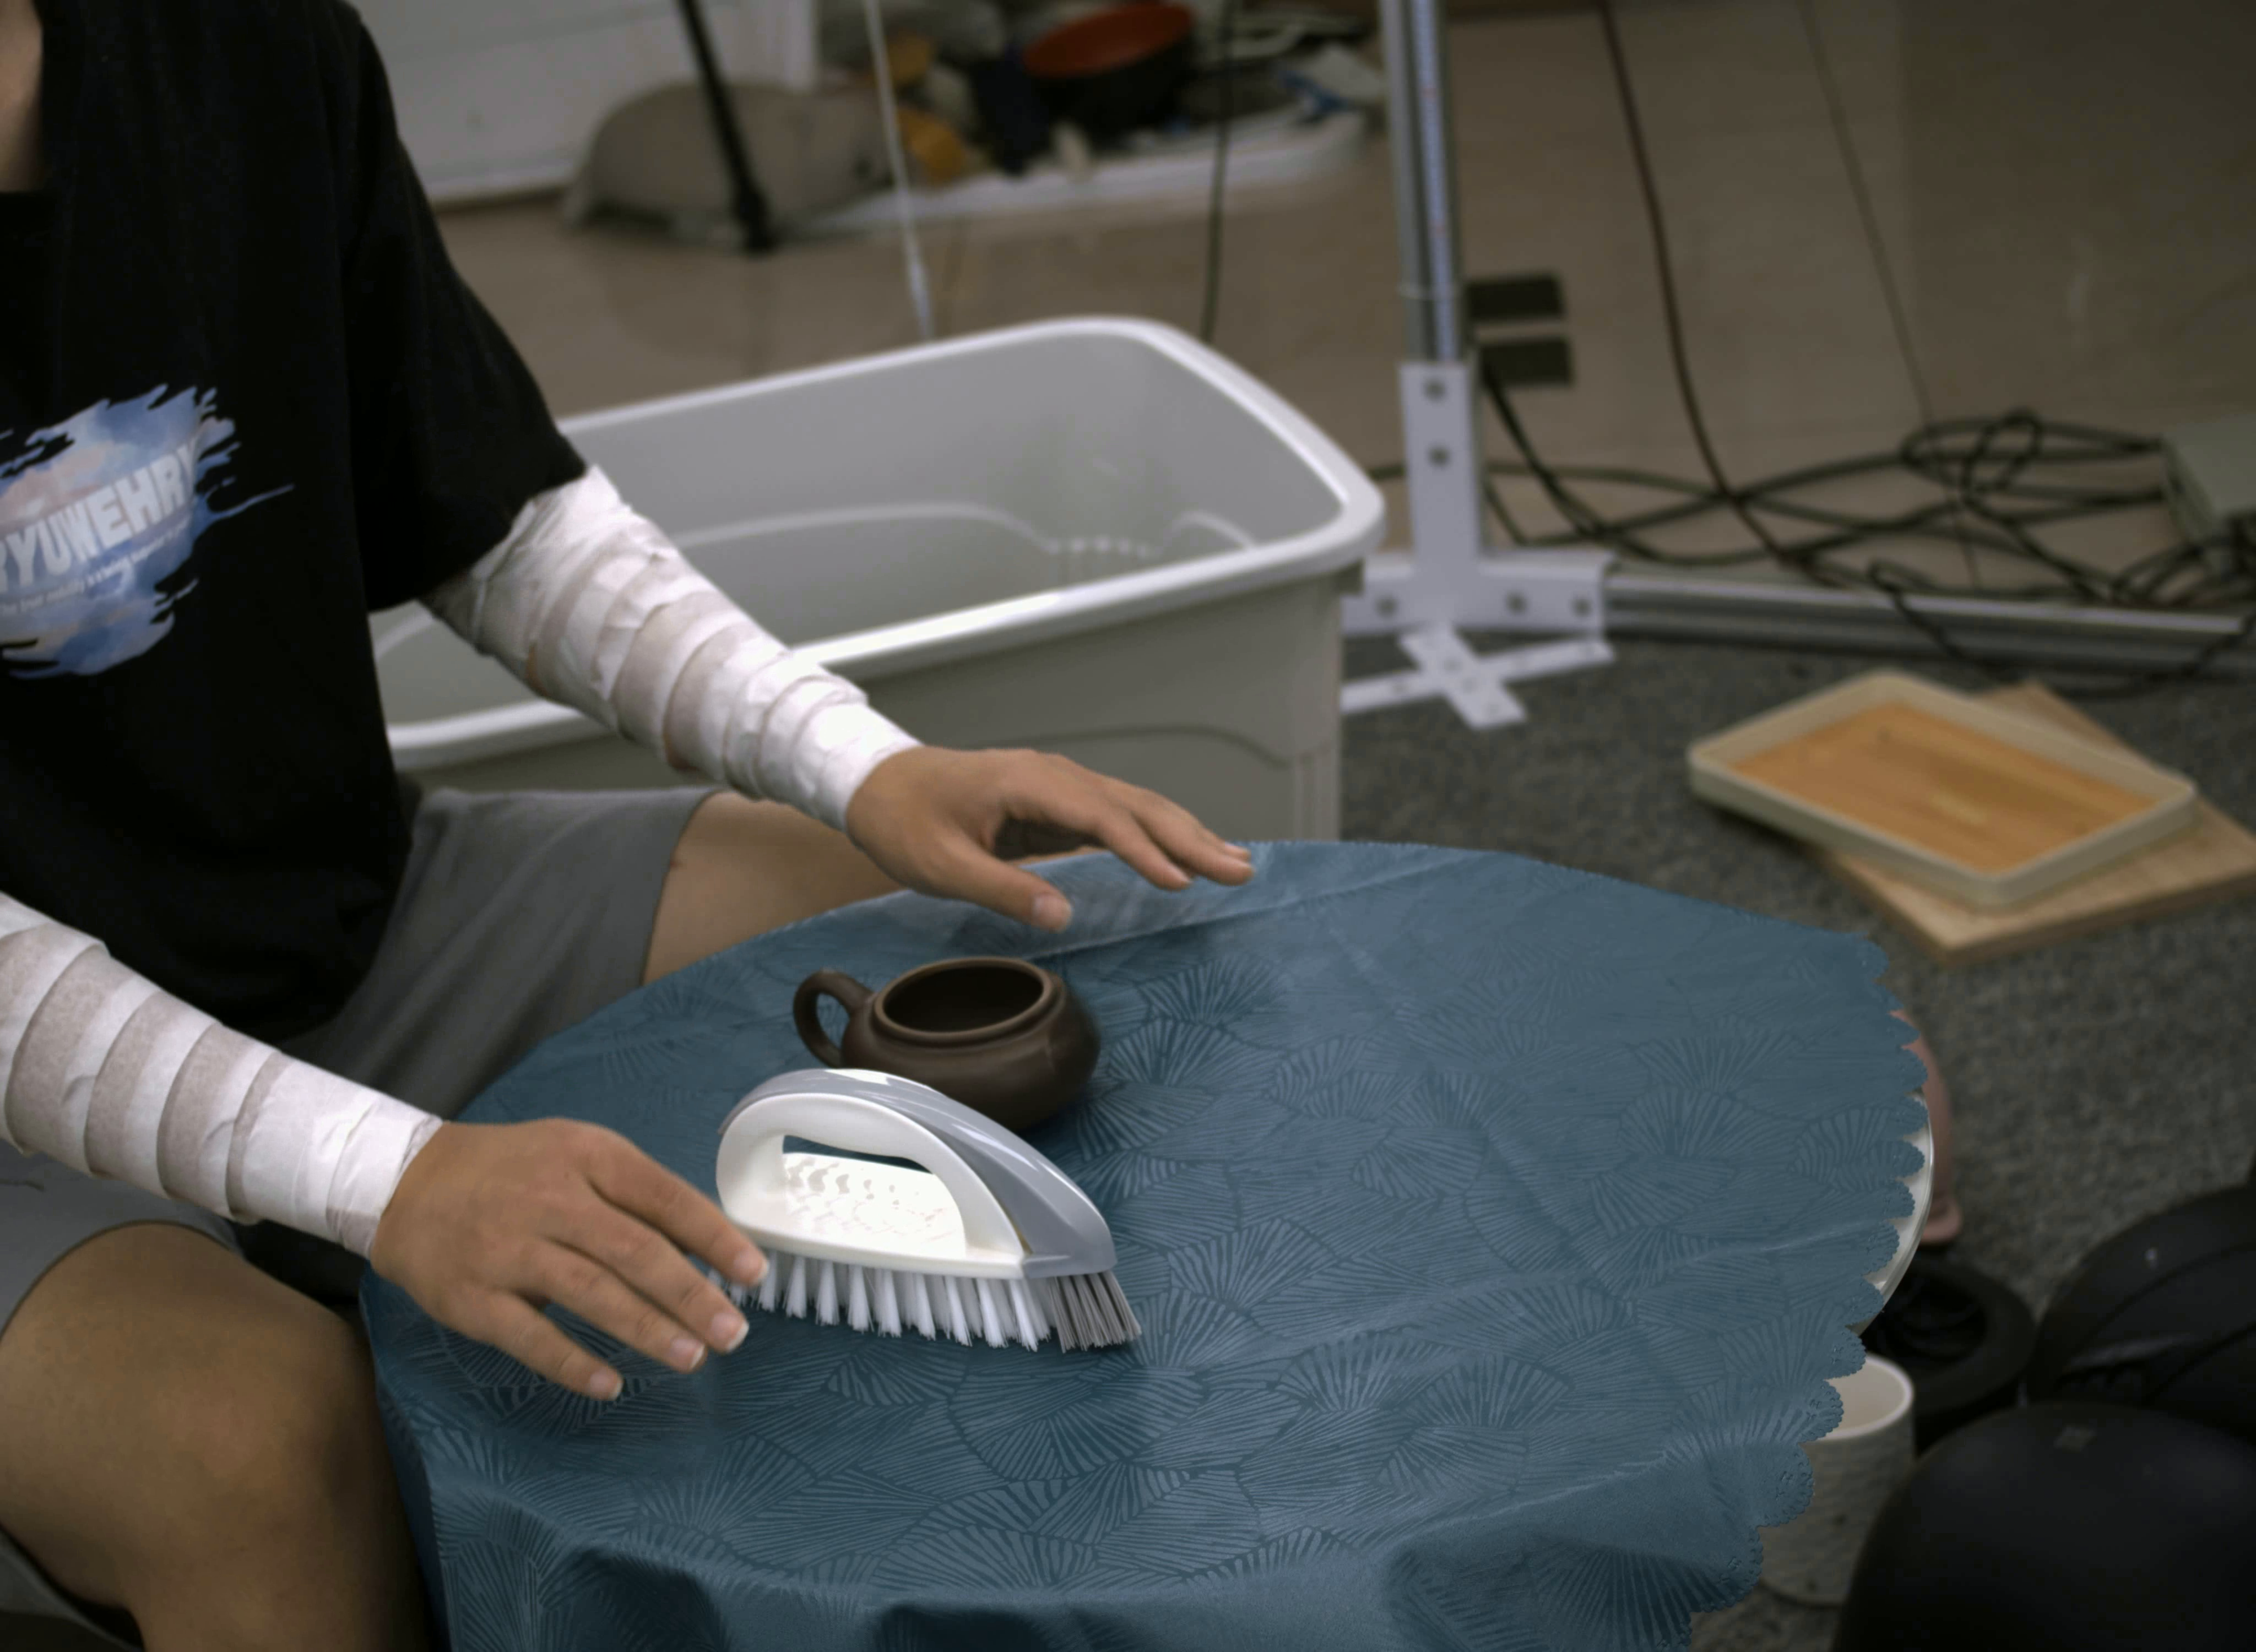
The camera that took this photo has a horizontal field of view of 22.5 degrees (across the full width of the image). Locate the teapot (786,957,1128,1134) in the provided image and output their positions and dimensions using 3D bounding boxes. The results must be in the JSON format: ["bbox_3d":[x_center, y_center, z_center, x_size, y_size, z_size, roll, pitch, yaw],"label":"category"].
[{"bbox_3d":[-0.066,0.085,2.216,0.153,0.054,0.101,5,26,25],"label":"teapot"}]

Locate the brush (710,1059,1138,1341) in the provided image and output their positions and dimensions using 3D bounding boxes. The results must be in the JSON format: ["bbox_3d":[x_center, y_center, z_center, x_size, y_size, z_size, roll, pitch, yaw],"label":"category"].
[{"bbox_3d":[-0.076,0.133,2.069,0.174,0.096,0.061,11,34,30],"label":"brush"}]
